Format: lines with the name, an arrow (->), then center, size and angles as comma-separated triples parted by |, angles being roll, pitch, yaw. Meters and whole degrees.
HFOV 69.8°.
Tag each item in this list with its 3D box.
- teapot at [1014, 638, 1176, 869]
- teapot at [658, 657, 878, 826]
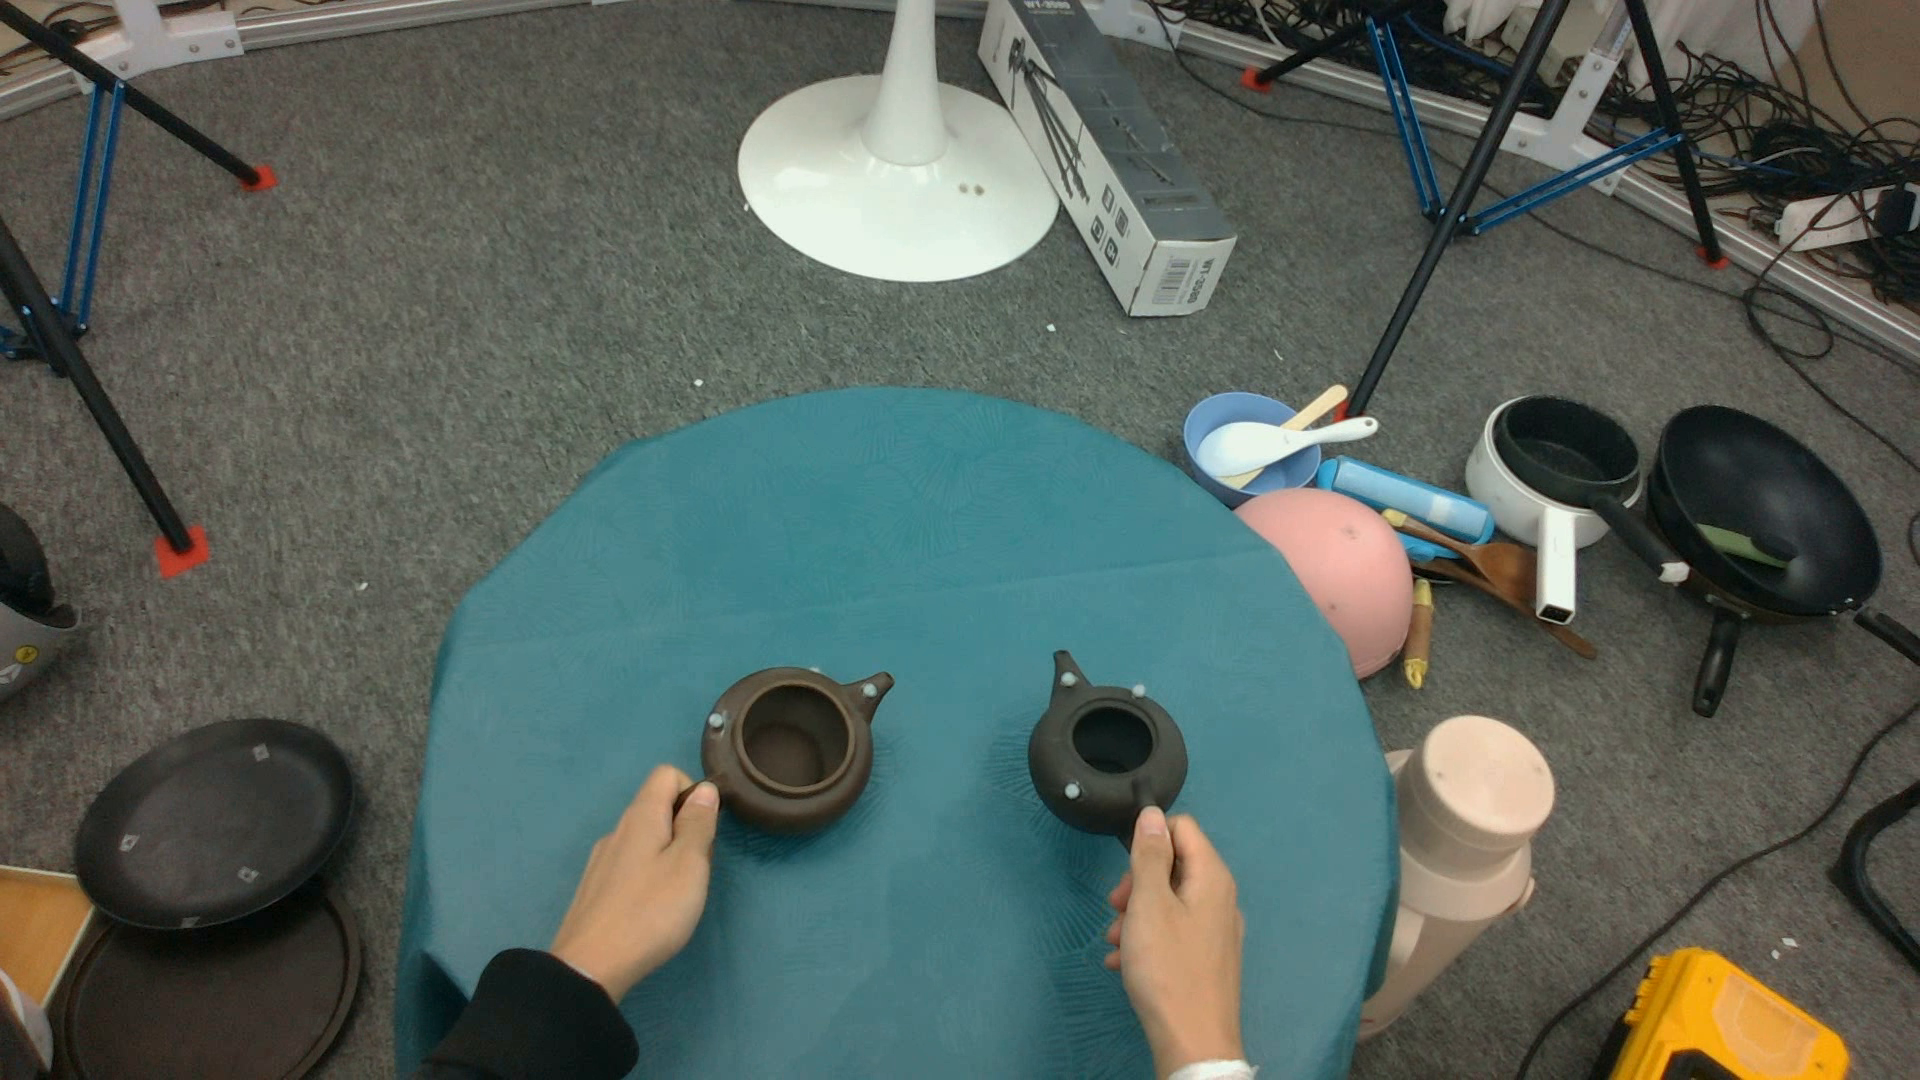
teapot -> 0.079, 0.124, 0.796 | 0.092, 0.064, 0.154 | -15, 48, -16
teapot -> -0.111, 0.119, 0.807 | 0.102, 0.053, 0.154 | 46, 54, 12
